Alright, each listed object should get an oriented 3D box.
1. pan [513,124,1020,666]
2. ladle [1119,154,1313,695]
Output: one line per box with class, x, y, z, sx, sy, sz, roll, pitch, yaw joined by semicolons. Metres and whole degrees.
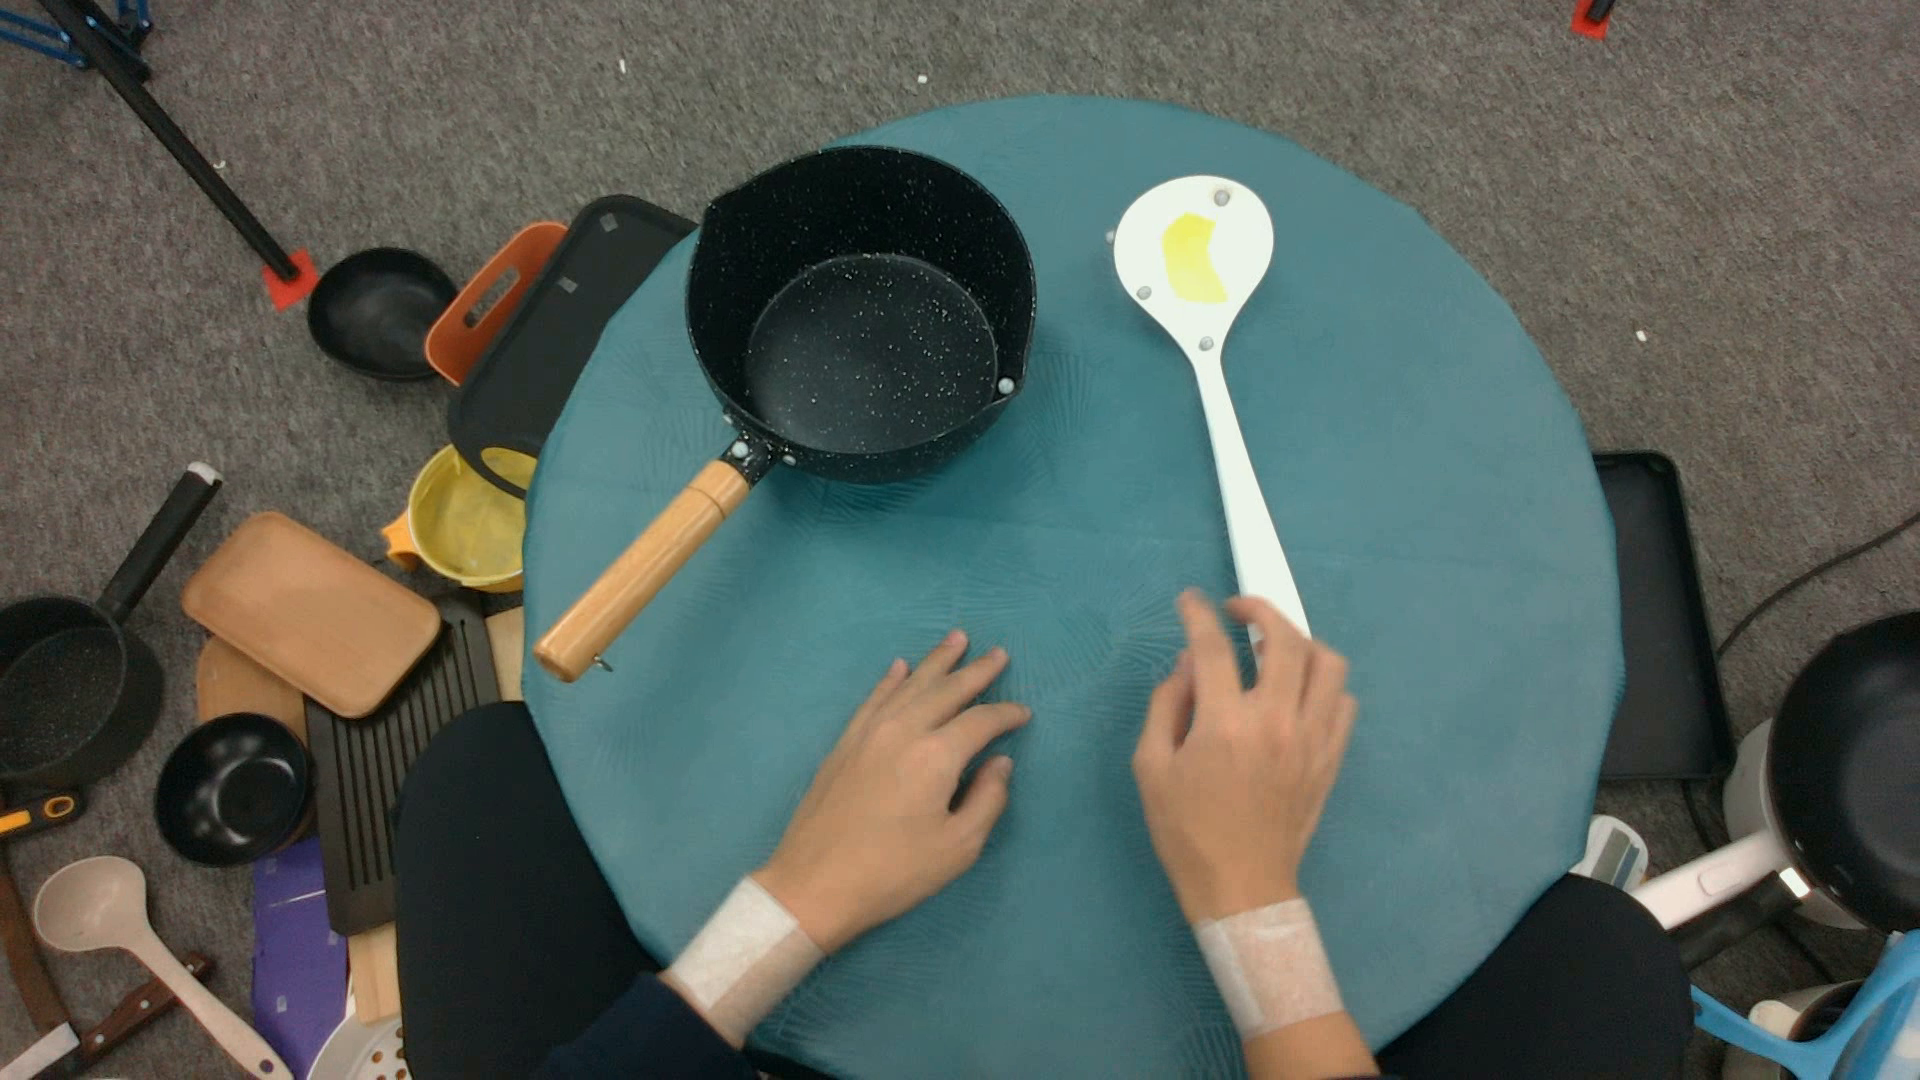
pan;-0.103;-0.065;0.721;0.207;0.108;0.344;31;72;9
ladle;0.149;-0.066;0.746;0.090;0.069;0.293;-6;71;-9
